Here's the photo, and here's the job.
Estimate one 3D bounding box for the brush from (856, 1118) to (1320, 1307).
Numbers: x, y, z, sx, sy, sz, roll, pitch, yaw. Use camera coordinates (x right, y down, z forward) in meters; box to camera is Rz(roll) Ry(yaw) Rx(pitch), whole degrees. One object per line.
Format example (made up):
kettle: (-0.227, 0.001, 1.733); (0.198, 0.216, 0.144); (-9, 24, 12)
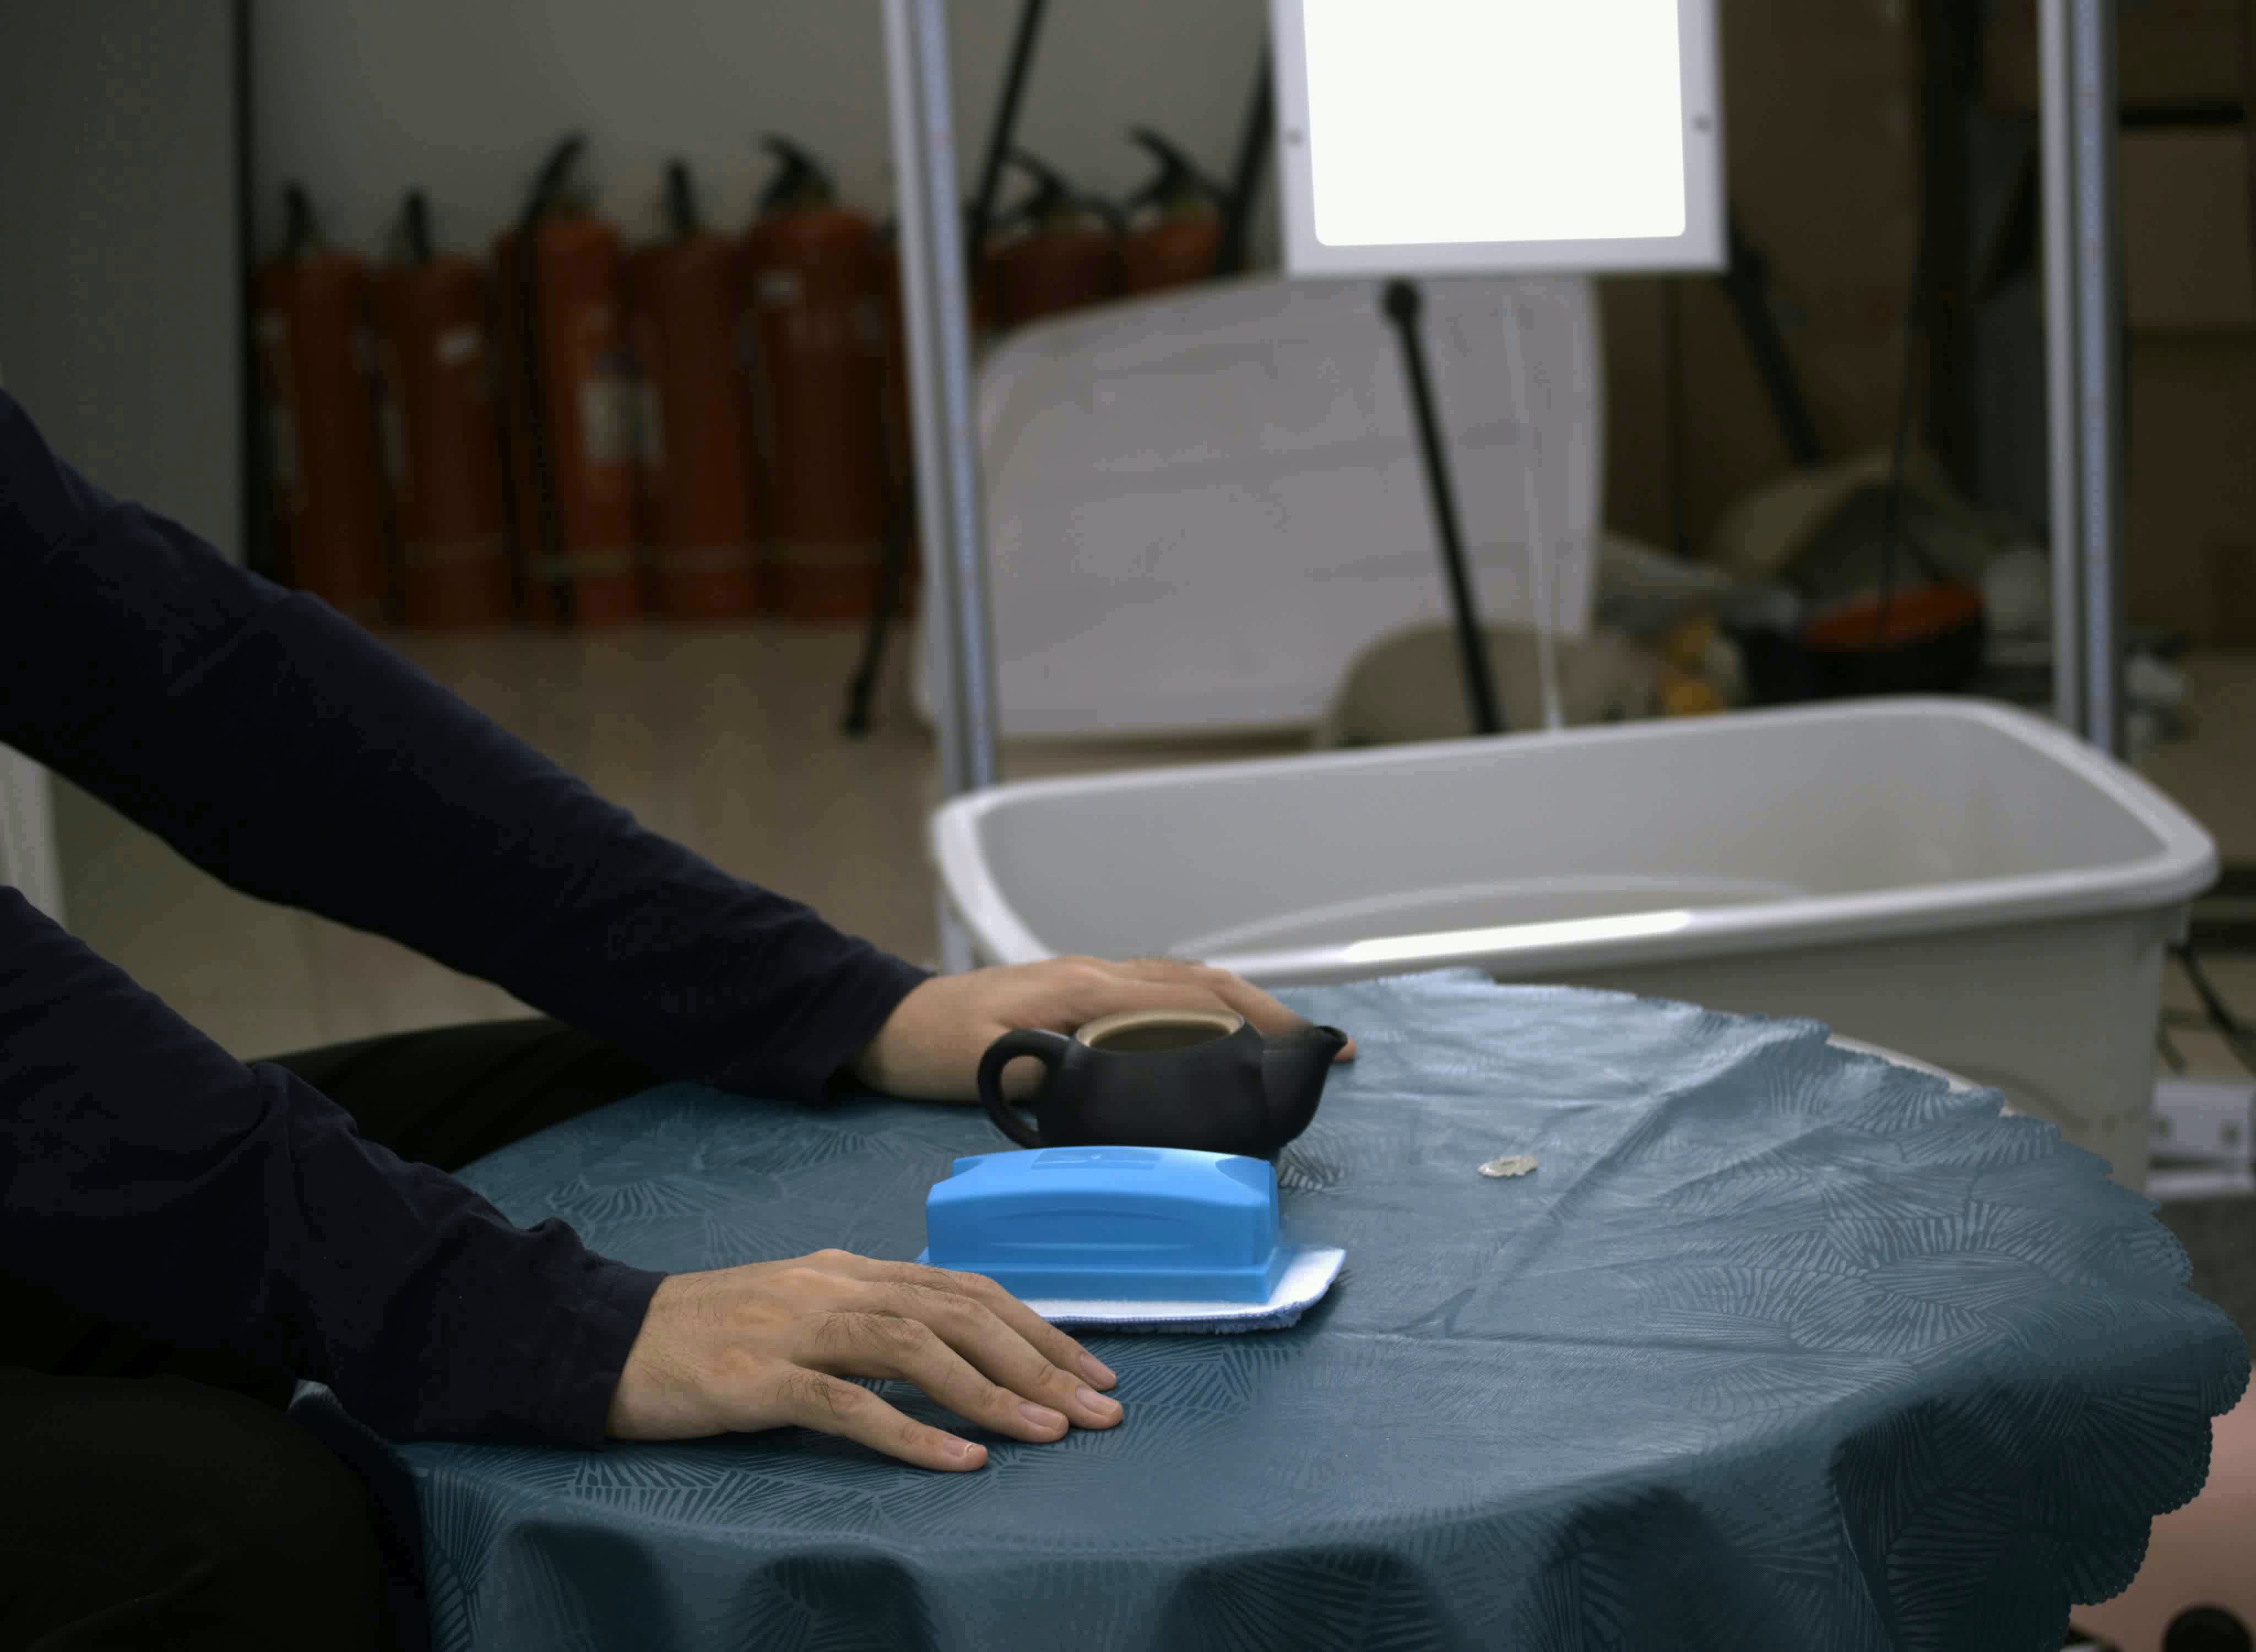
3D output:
brush: (-0.012, 0.125, 1.779); (0.145, 0.056, 0.082); (3, 12, 18)

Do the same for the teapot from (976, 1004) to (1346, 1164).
teapot: (0.012, 0.094, 1.910); (0.134, 0.053, 0.089); (0, 13, 16)
